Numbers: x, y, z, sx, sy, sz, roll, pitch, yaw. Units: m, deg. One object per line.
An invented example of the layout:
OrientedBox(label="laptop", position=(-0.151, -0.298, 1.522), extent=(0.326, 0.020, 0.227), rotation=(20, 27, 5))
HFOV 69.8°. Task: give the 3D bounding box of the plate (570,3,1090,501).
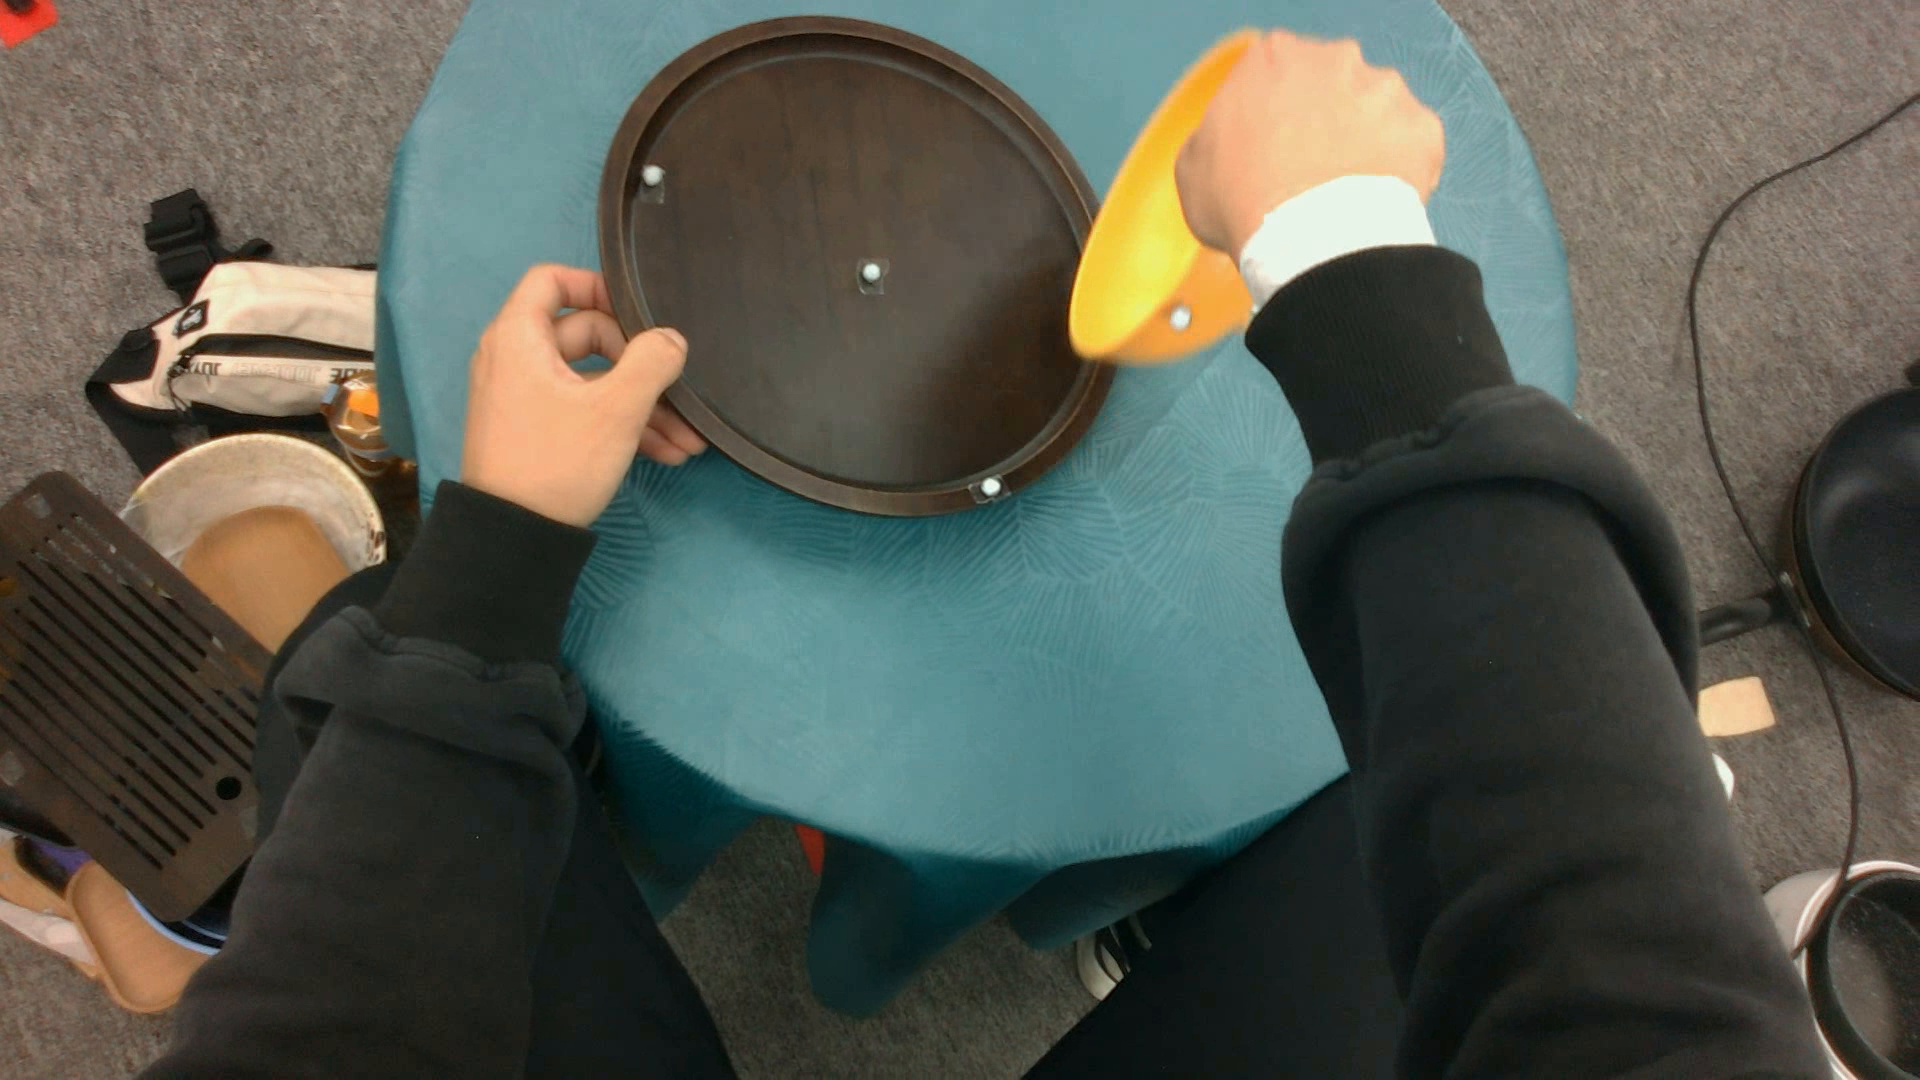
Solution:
OrientedBox(label="plate", position=(-0.052, -0.136, 0.639), extent=(0.255, 0.029, 0.255), rotation=(8, 70, -23))

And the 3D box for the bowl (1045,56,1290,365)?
OrientedBox(label="bowl", position=(0.102, -0.134, 0.611), extent=(0.060, 0.145, 0.146), rotation=(26, 70, -21))
